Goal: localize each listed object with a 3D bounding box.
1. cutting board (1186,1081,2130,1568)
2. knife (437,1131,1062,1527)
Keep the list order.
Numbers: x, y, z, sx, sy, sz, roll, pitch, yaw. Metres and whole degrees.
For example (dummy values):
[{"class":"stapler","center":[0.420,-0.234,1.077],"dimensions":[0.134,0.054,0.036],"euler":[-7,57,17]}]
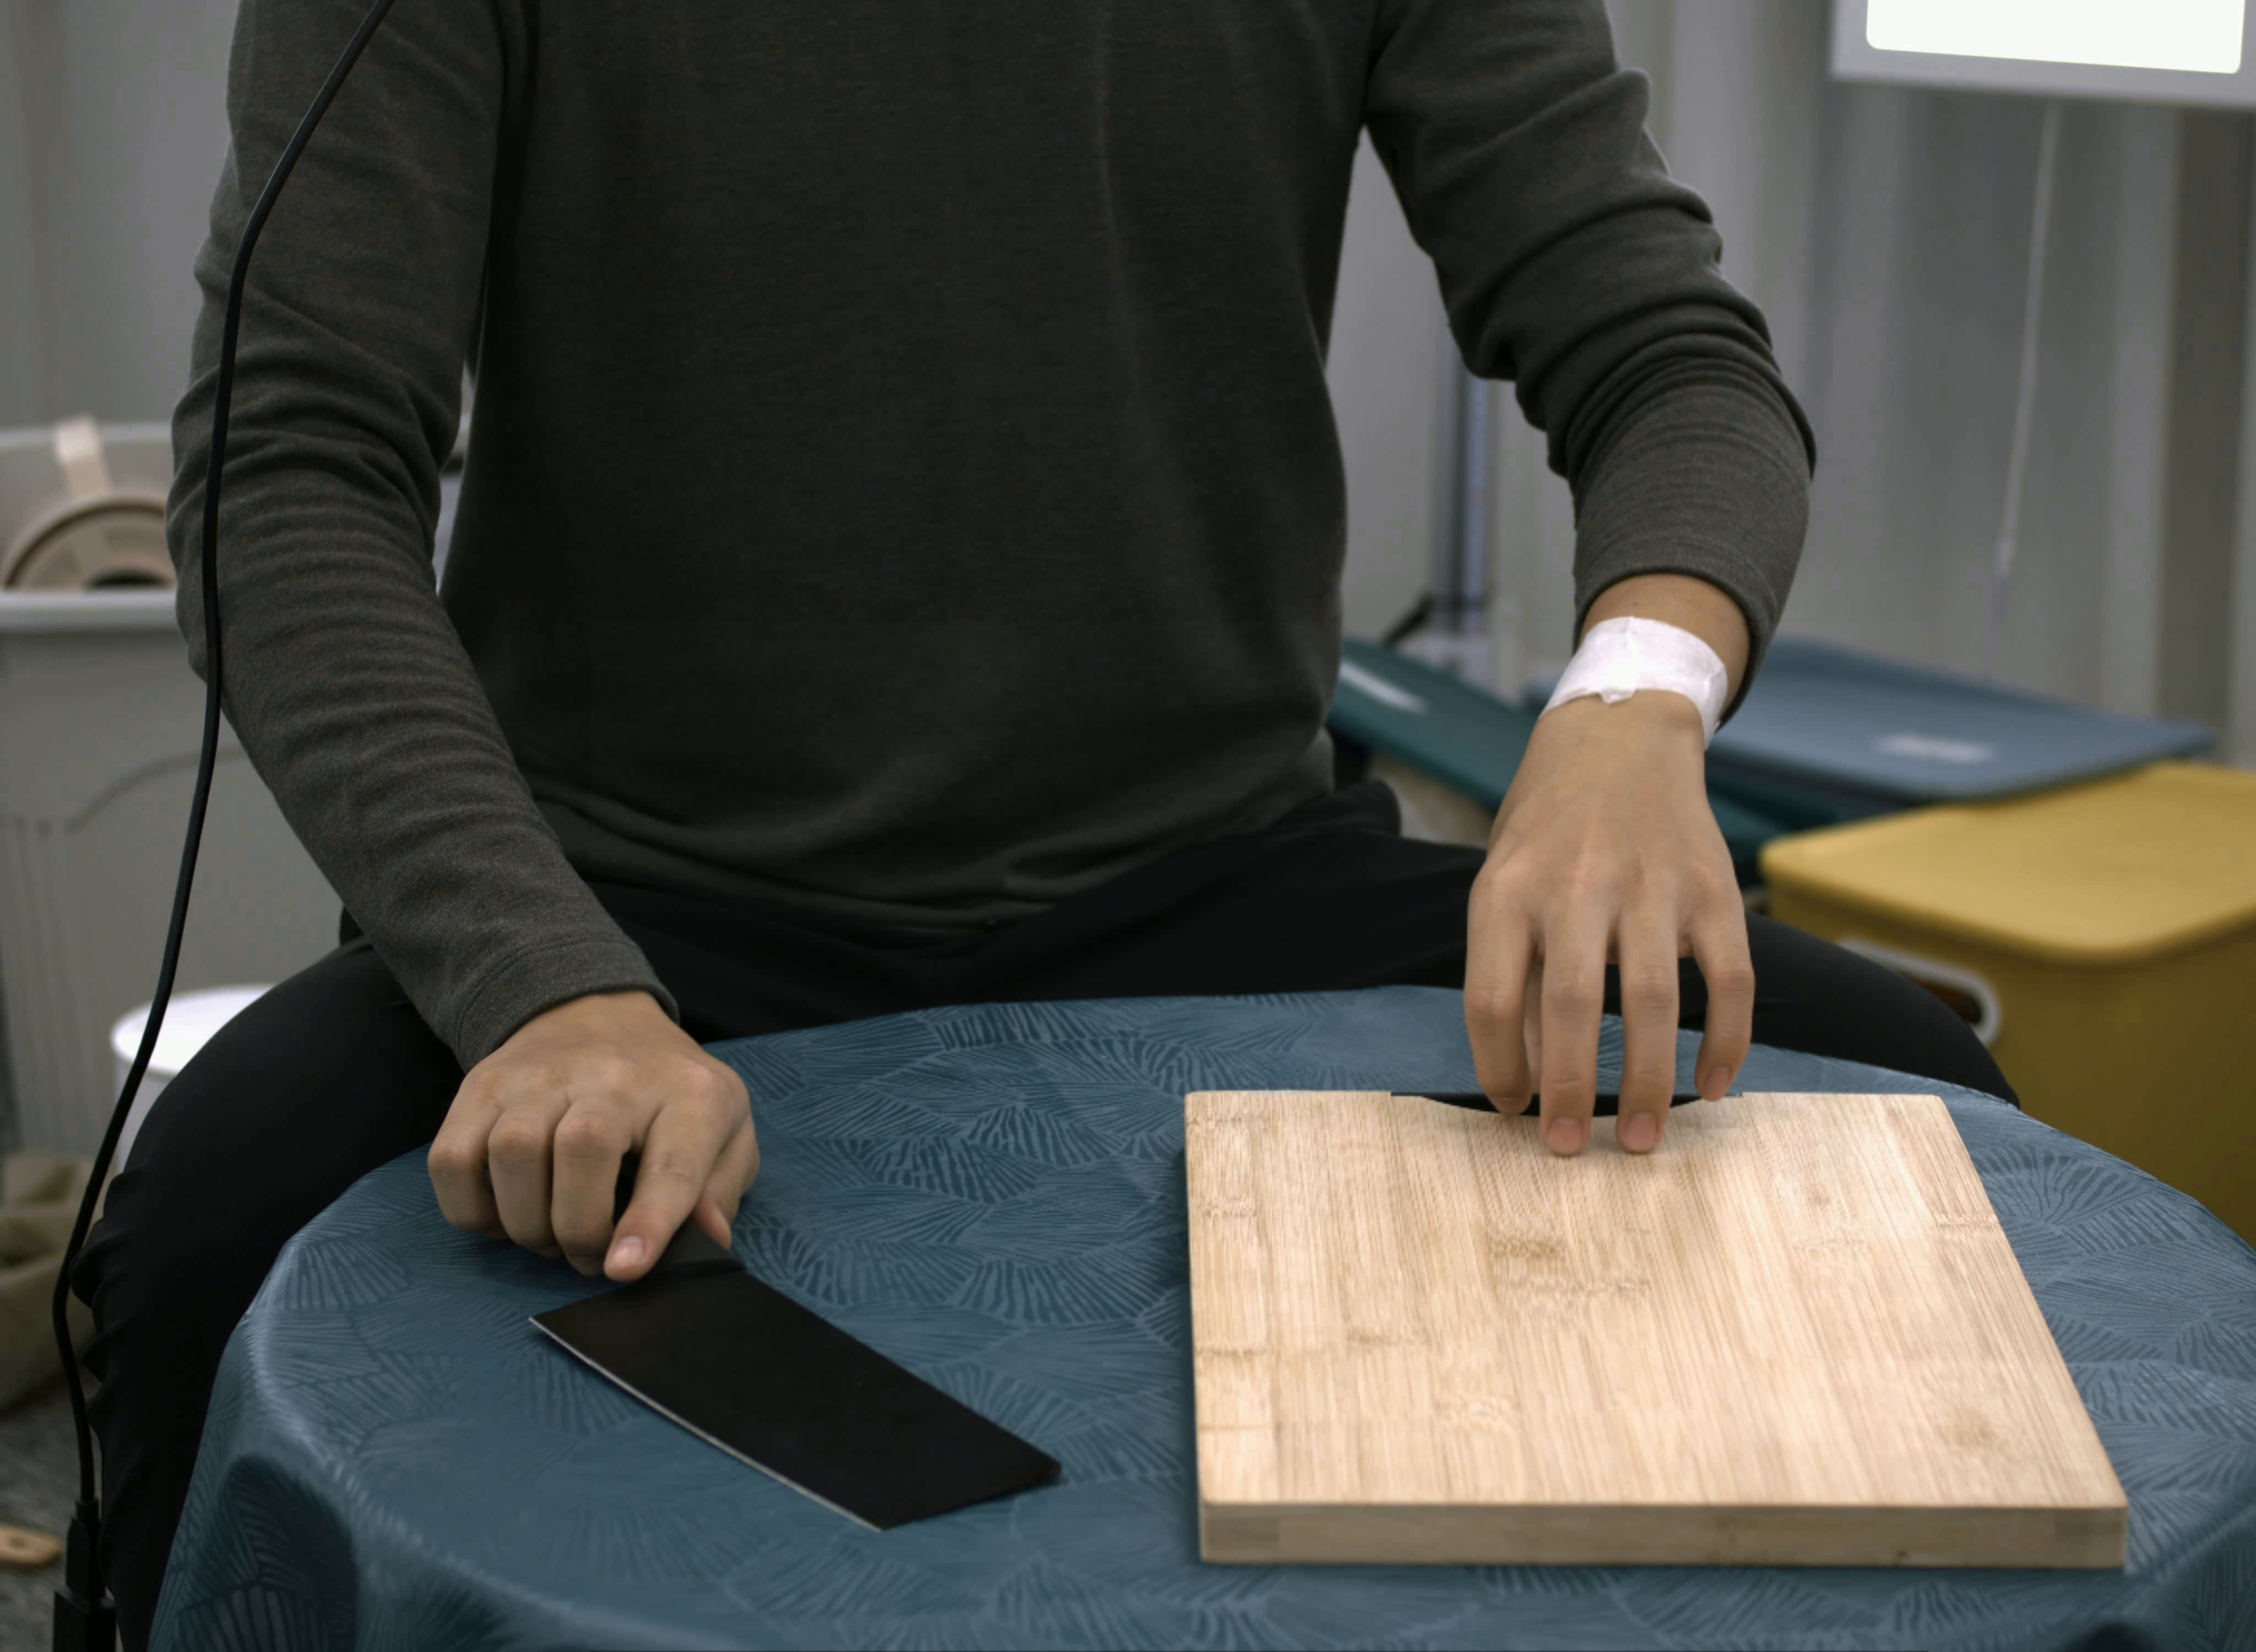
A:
[{"class":"cutting board","center":[0.138,0.136,1.513],"dimensions":[0.250,0.024,0.346],"euler":[1,15,-1]},{"class":"knife","center":[-0.124,0.140,1.496],"dimensions":[0.081,0.021,0.298],"euler":[-12,21,-29]}]
